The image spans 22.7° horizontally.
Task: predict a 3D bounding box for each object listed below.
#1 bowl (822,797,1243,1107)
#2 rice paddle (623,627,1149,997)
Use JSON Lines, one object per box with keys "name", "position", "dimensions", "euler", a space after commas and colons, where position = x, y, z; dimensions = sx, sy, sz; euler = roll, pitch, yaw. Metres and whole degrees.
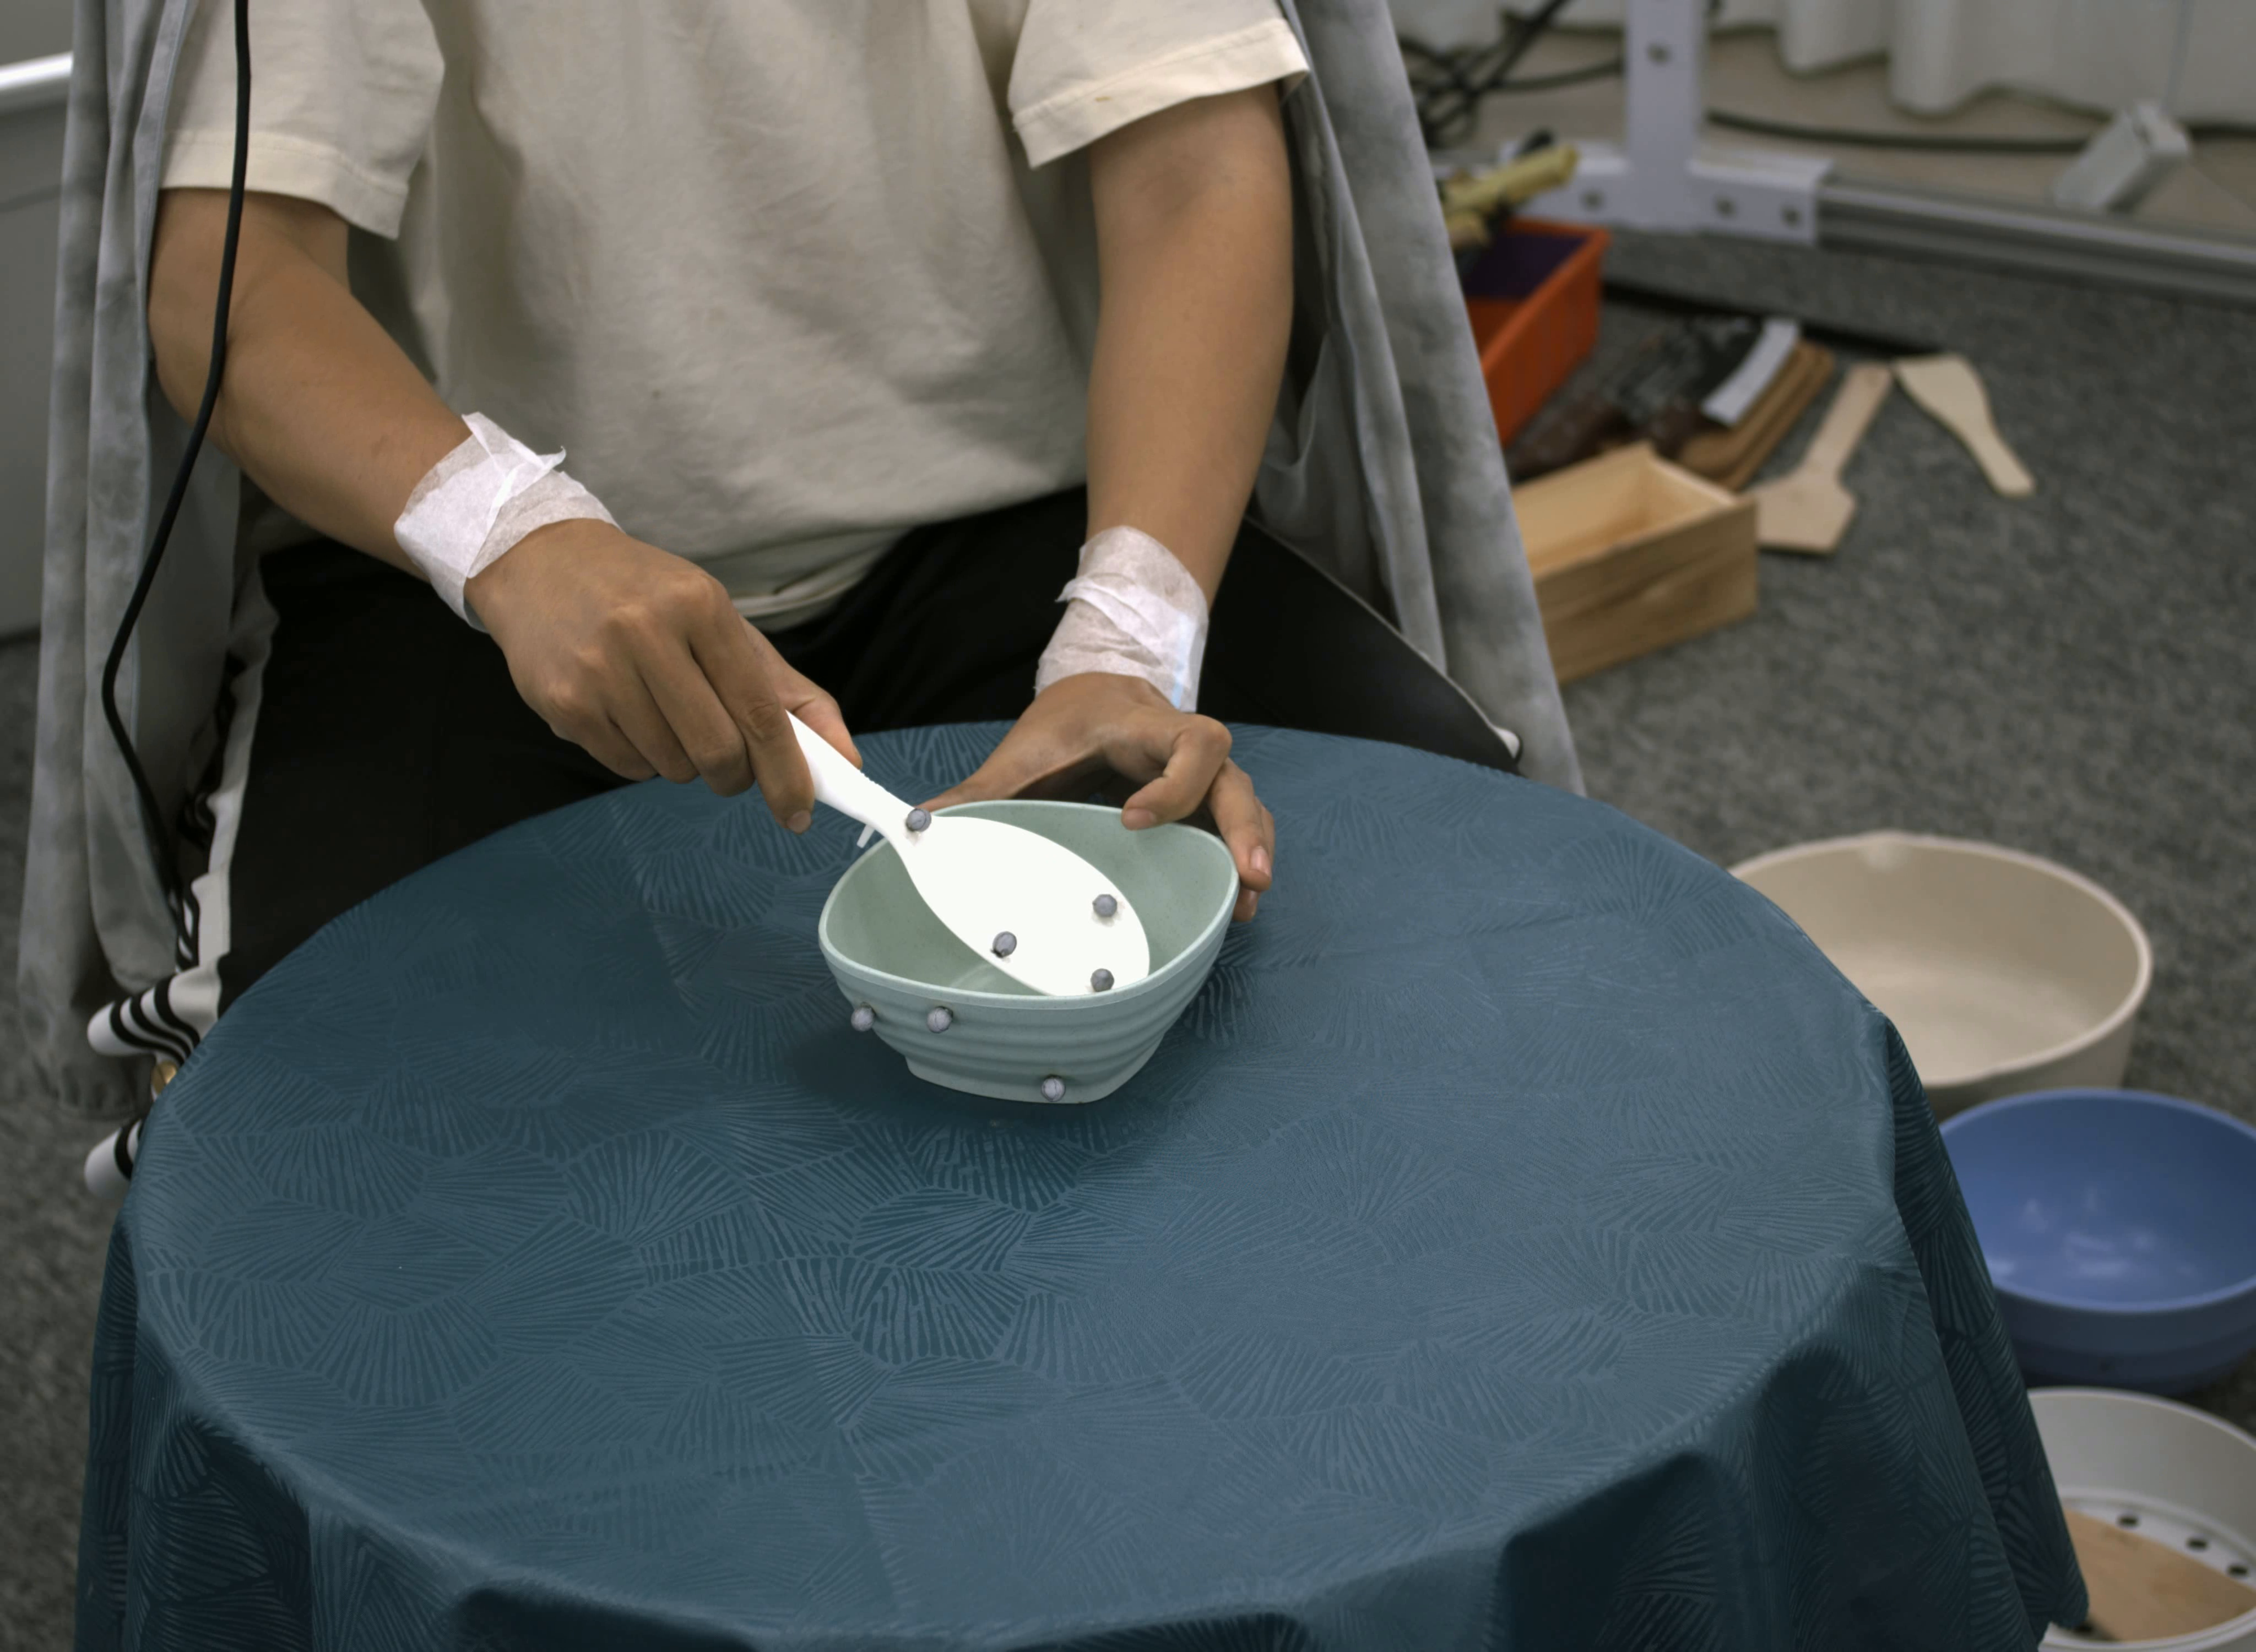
{"name": "bowl", "position": [-0.030, 0.050, 1.942], "dimensions": [0.150, 0.058, 0.154], "euler": [-4, 29, 2]}
{"name": "rice paddle", "position": [-0.080, -0.003, 1.941], "dimensions": [0.205, 0.029, 0.070], "euler": [32, 42, -1]}
